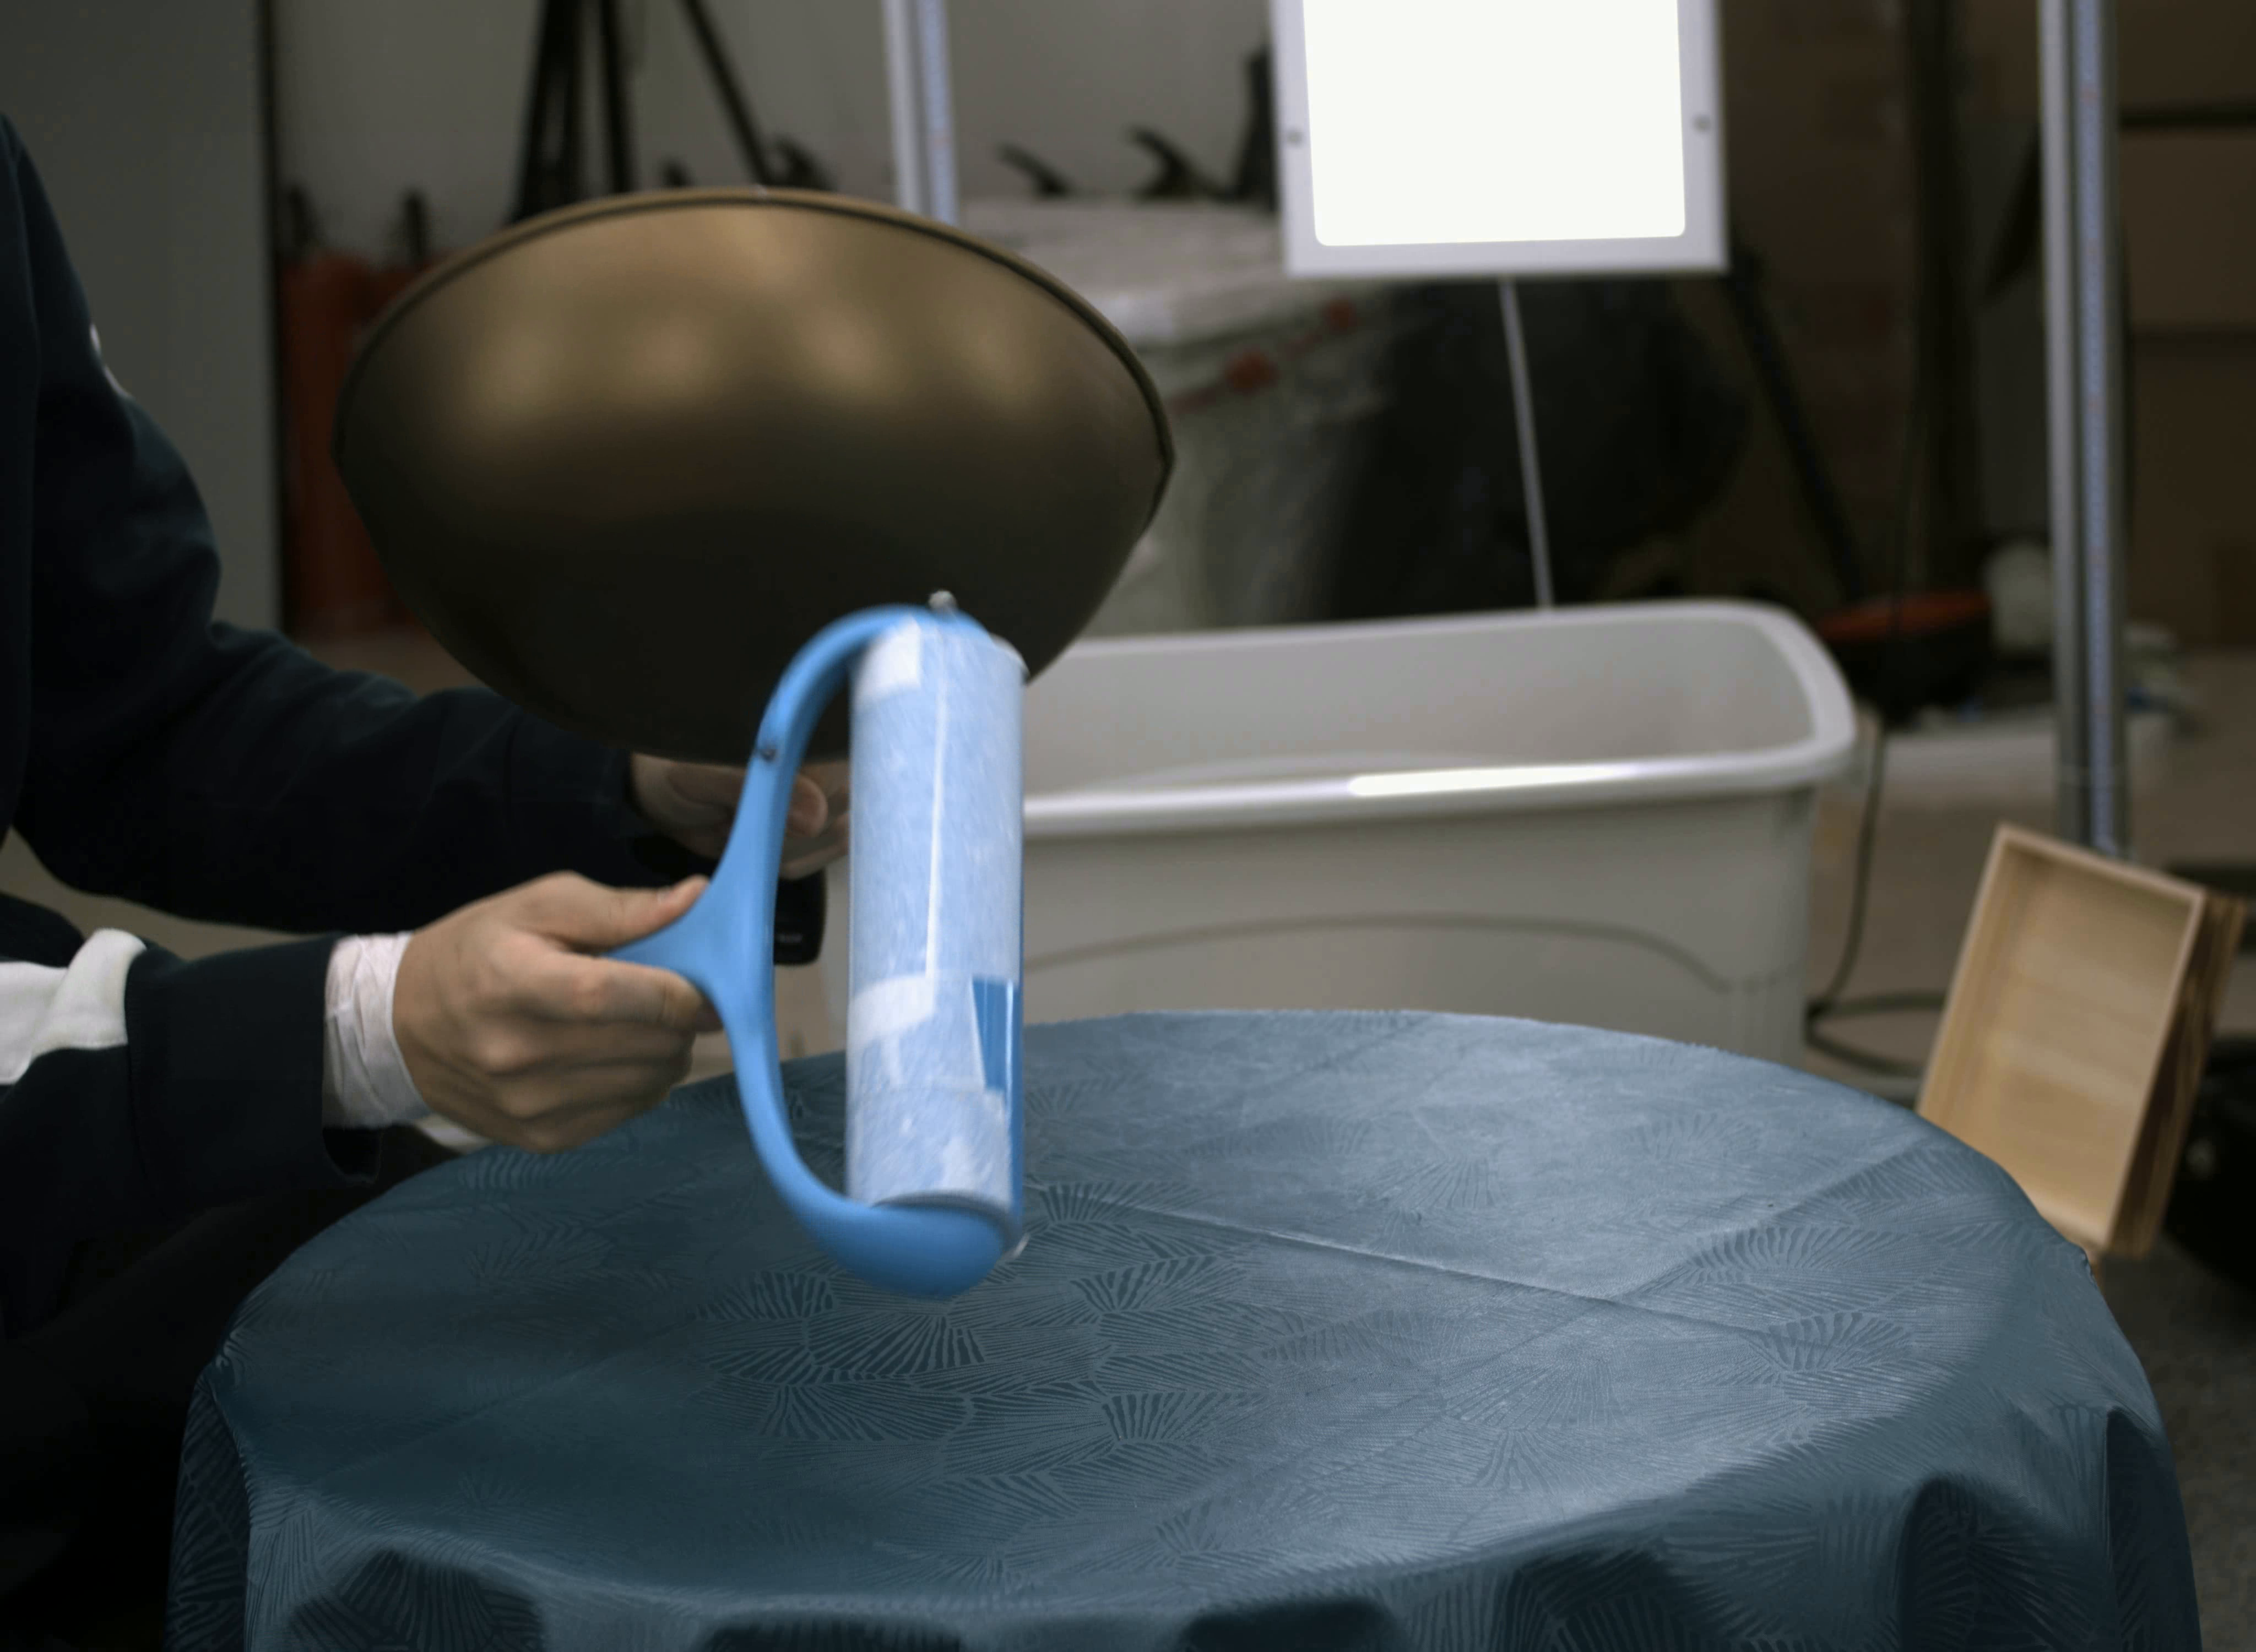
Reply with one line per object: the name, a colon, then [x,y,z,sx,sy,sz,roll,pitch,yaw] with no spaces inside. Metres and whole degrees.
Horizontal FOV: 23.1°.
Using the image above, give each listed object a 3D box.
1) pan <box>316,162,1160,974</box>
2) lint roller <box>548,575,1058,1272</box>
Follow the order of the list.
pan: [-0.131,-0.049,1.927,0.288,0.465,0.086,1,56,2]
lint roller: [-0.110,0.043,1.682,0.182,0.229,0.067,-17,-28,19]
